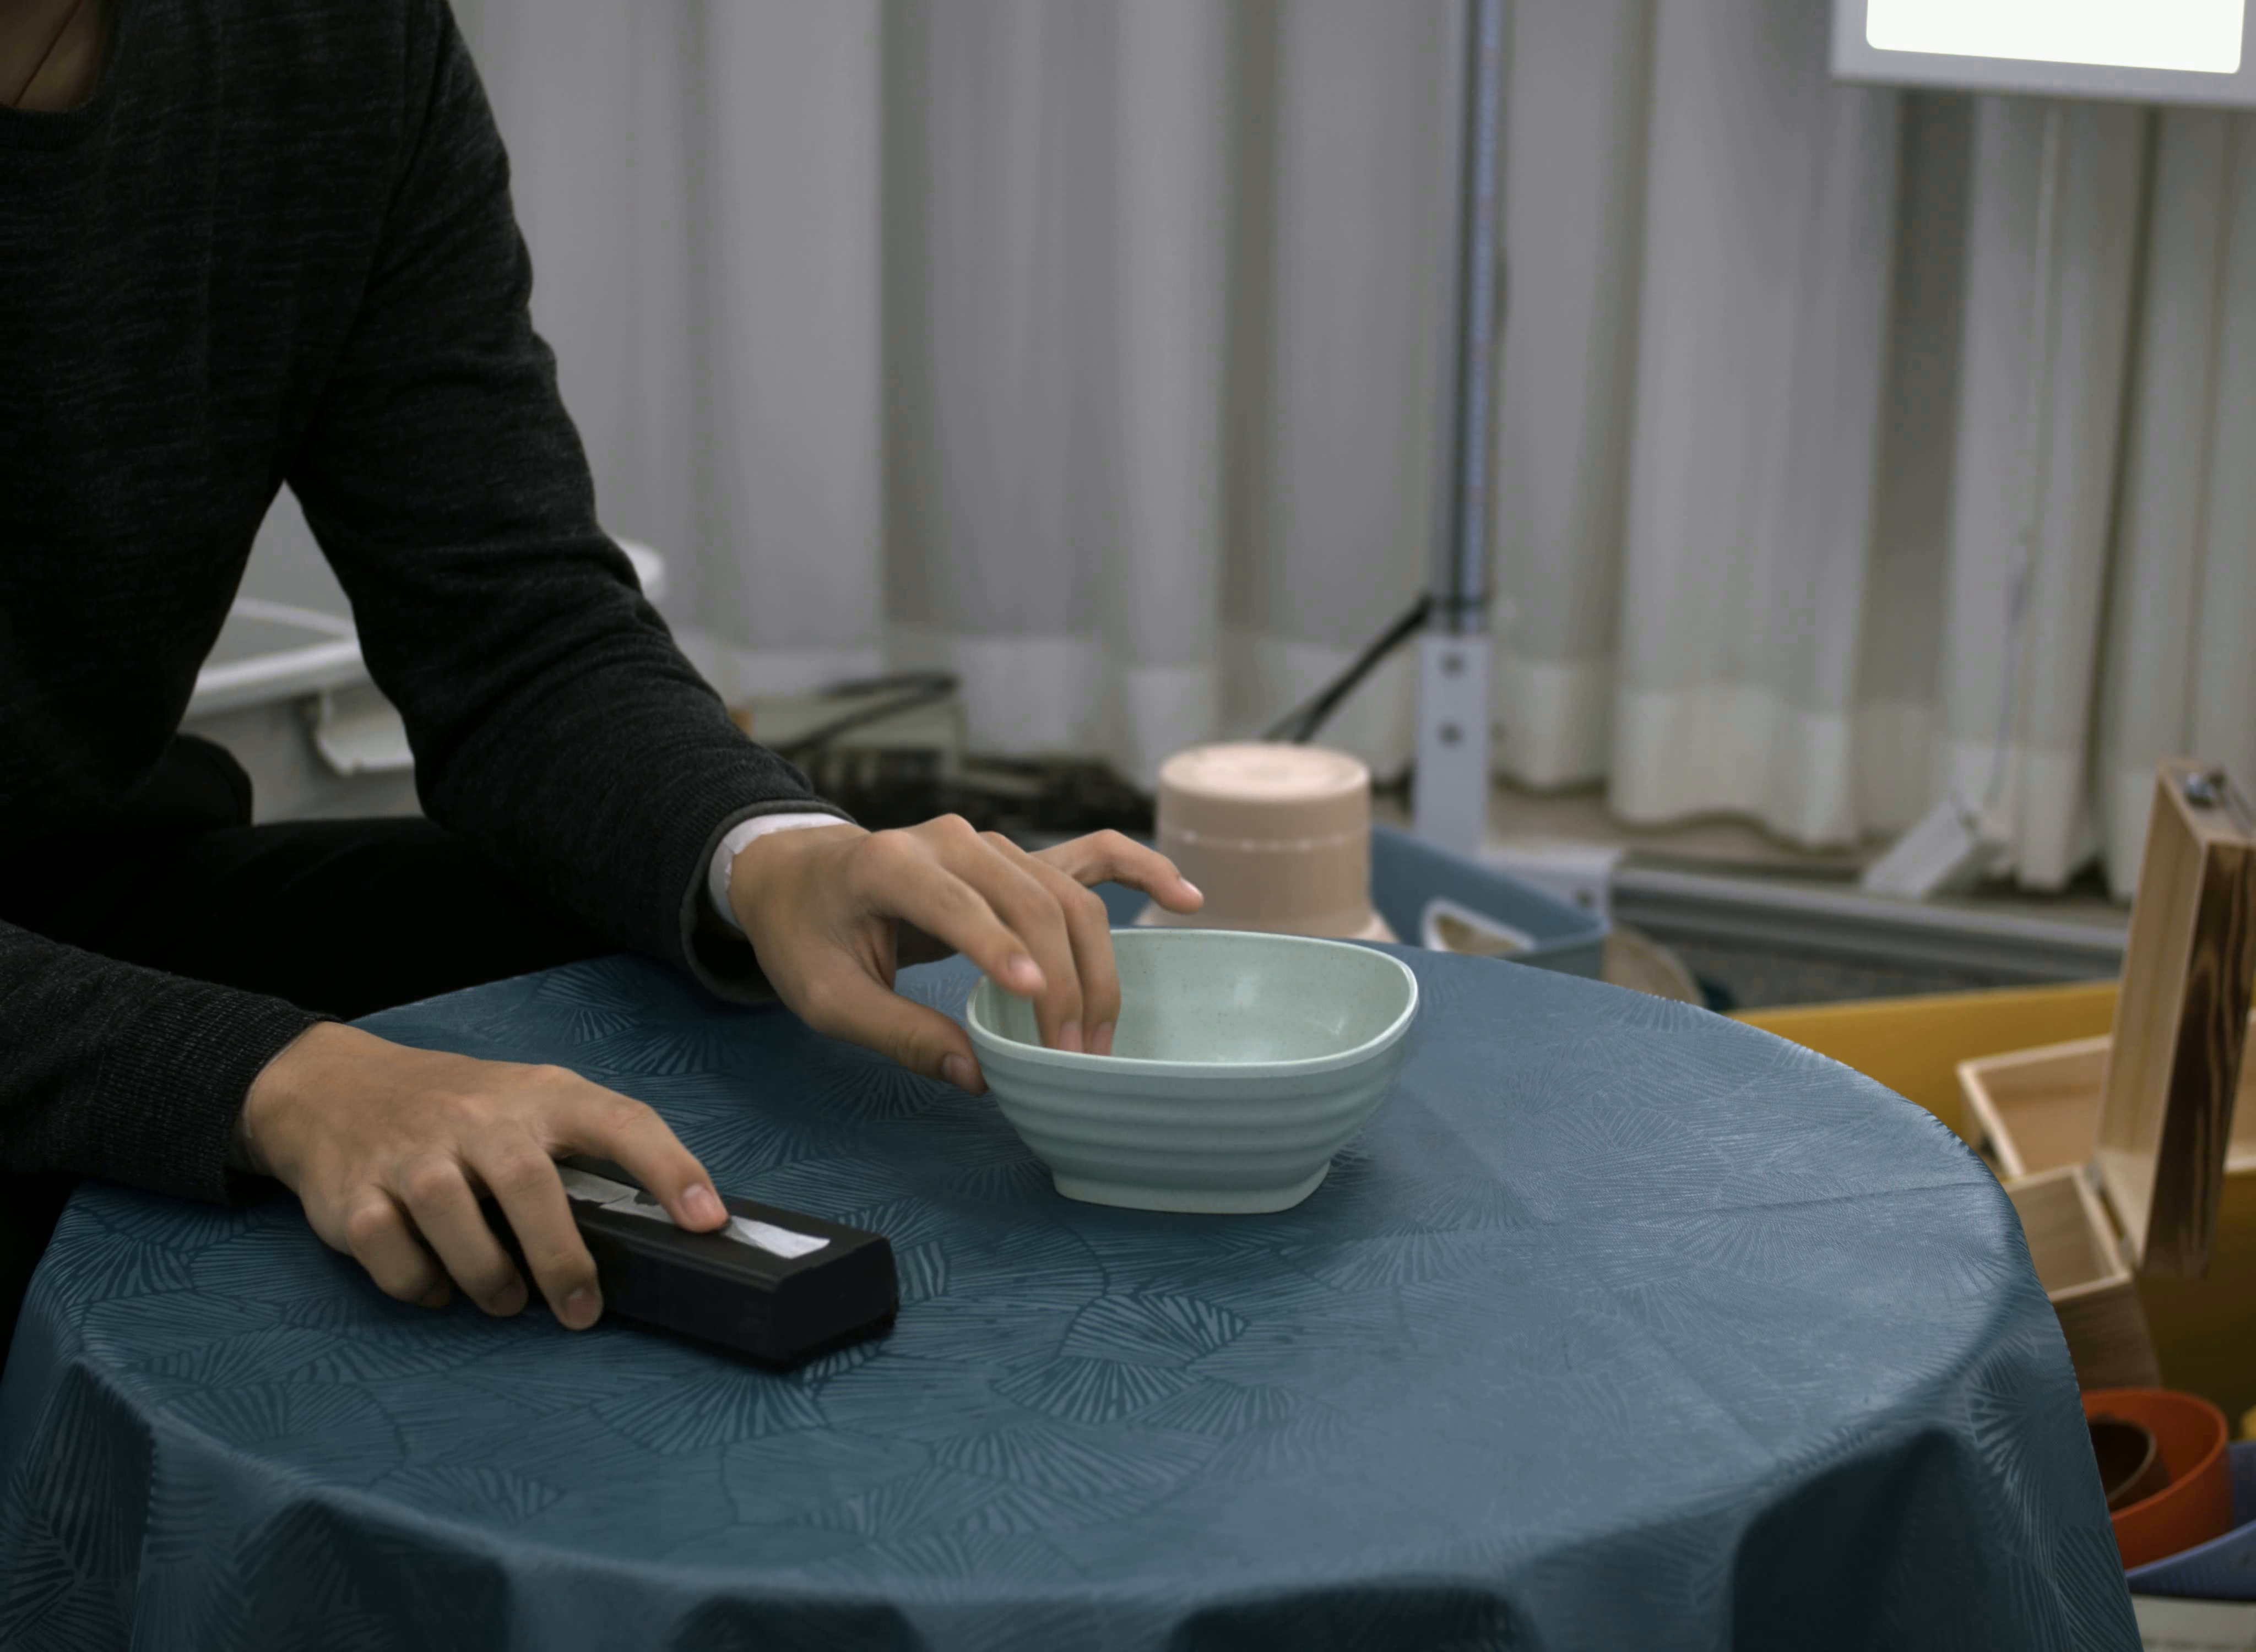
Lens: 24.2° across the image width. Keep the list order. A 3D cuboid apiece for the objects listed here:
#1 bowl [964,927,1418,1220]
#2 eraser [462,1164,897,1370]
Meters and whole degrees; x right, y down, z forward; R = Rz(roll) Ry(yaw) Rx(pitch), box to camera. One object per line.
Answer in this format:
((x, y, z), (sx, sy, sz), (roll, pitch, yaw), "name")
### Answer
((0.019, 0.080, 1.635), (0.151, 0.059, 0.150), (2, 16, 0), "bowl")
((-0.129, 0.126, 1.515), (0.124, 0.030, 0.054), (11, 16, 35), "eraser")
